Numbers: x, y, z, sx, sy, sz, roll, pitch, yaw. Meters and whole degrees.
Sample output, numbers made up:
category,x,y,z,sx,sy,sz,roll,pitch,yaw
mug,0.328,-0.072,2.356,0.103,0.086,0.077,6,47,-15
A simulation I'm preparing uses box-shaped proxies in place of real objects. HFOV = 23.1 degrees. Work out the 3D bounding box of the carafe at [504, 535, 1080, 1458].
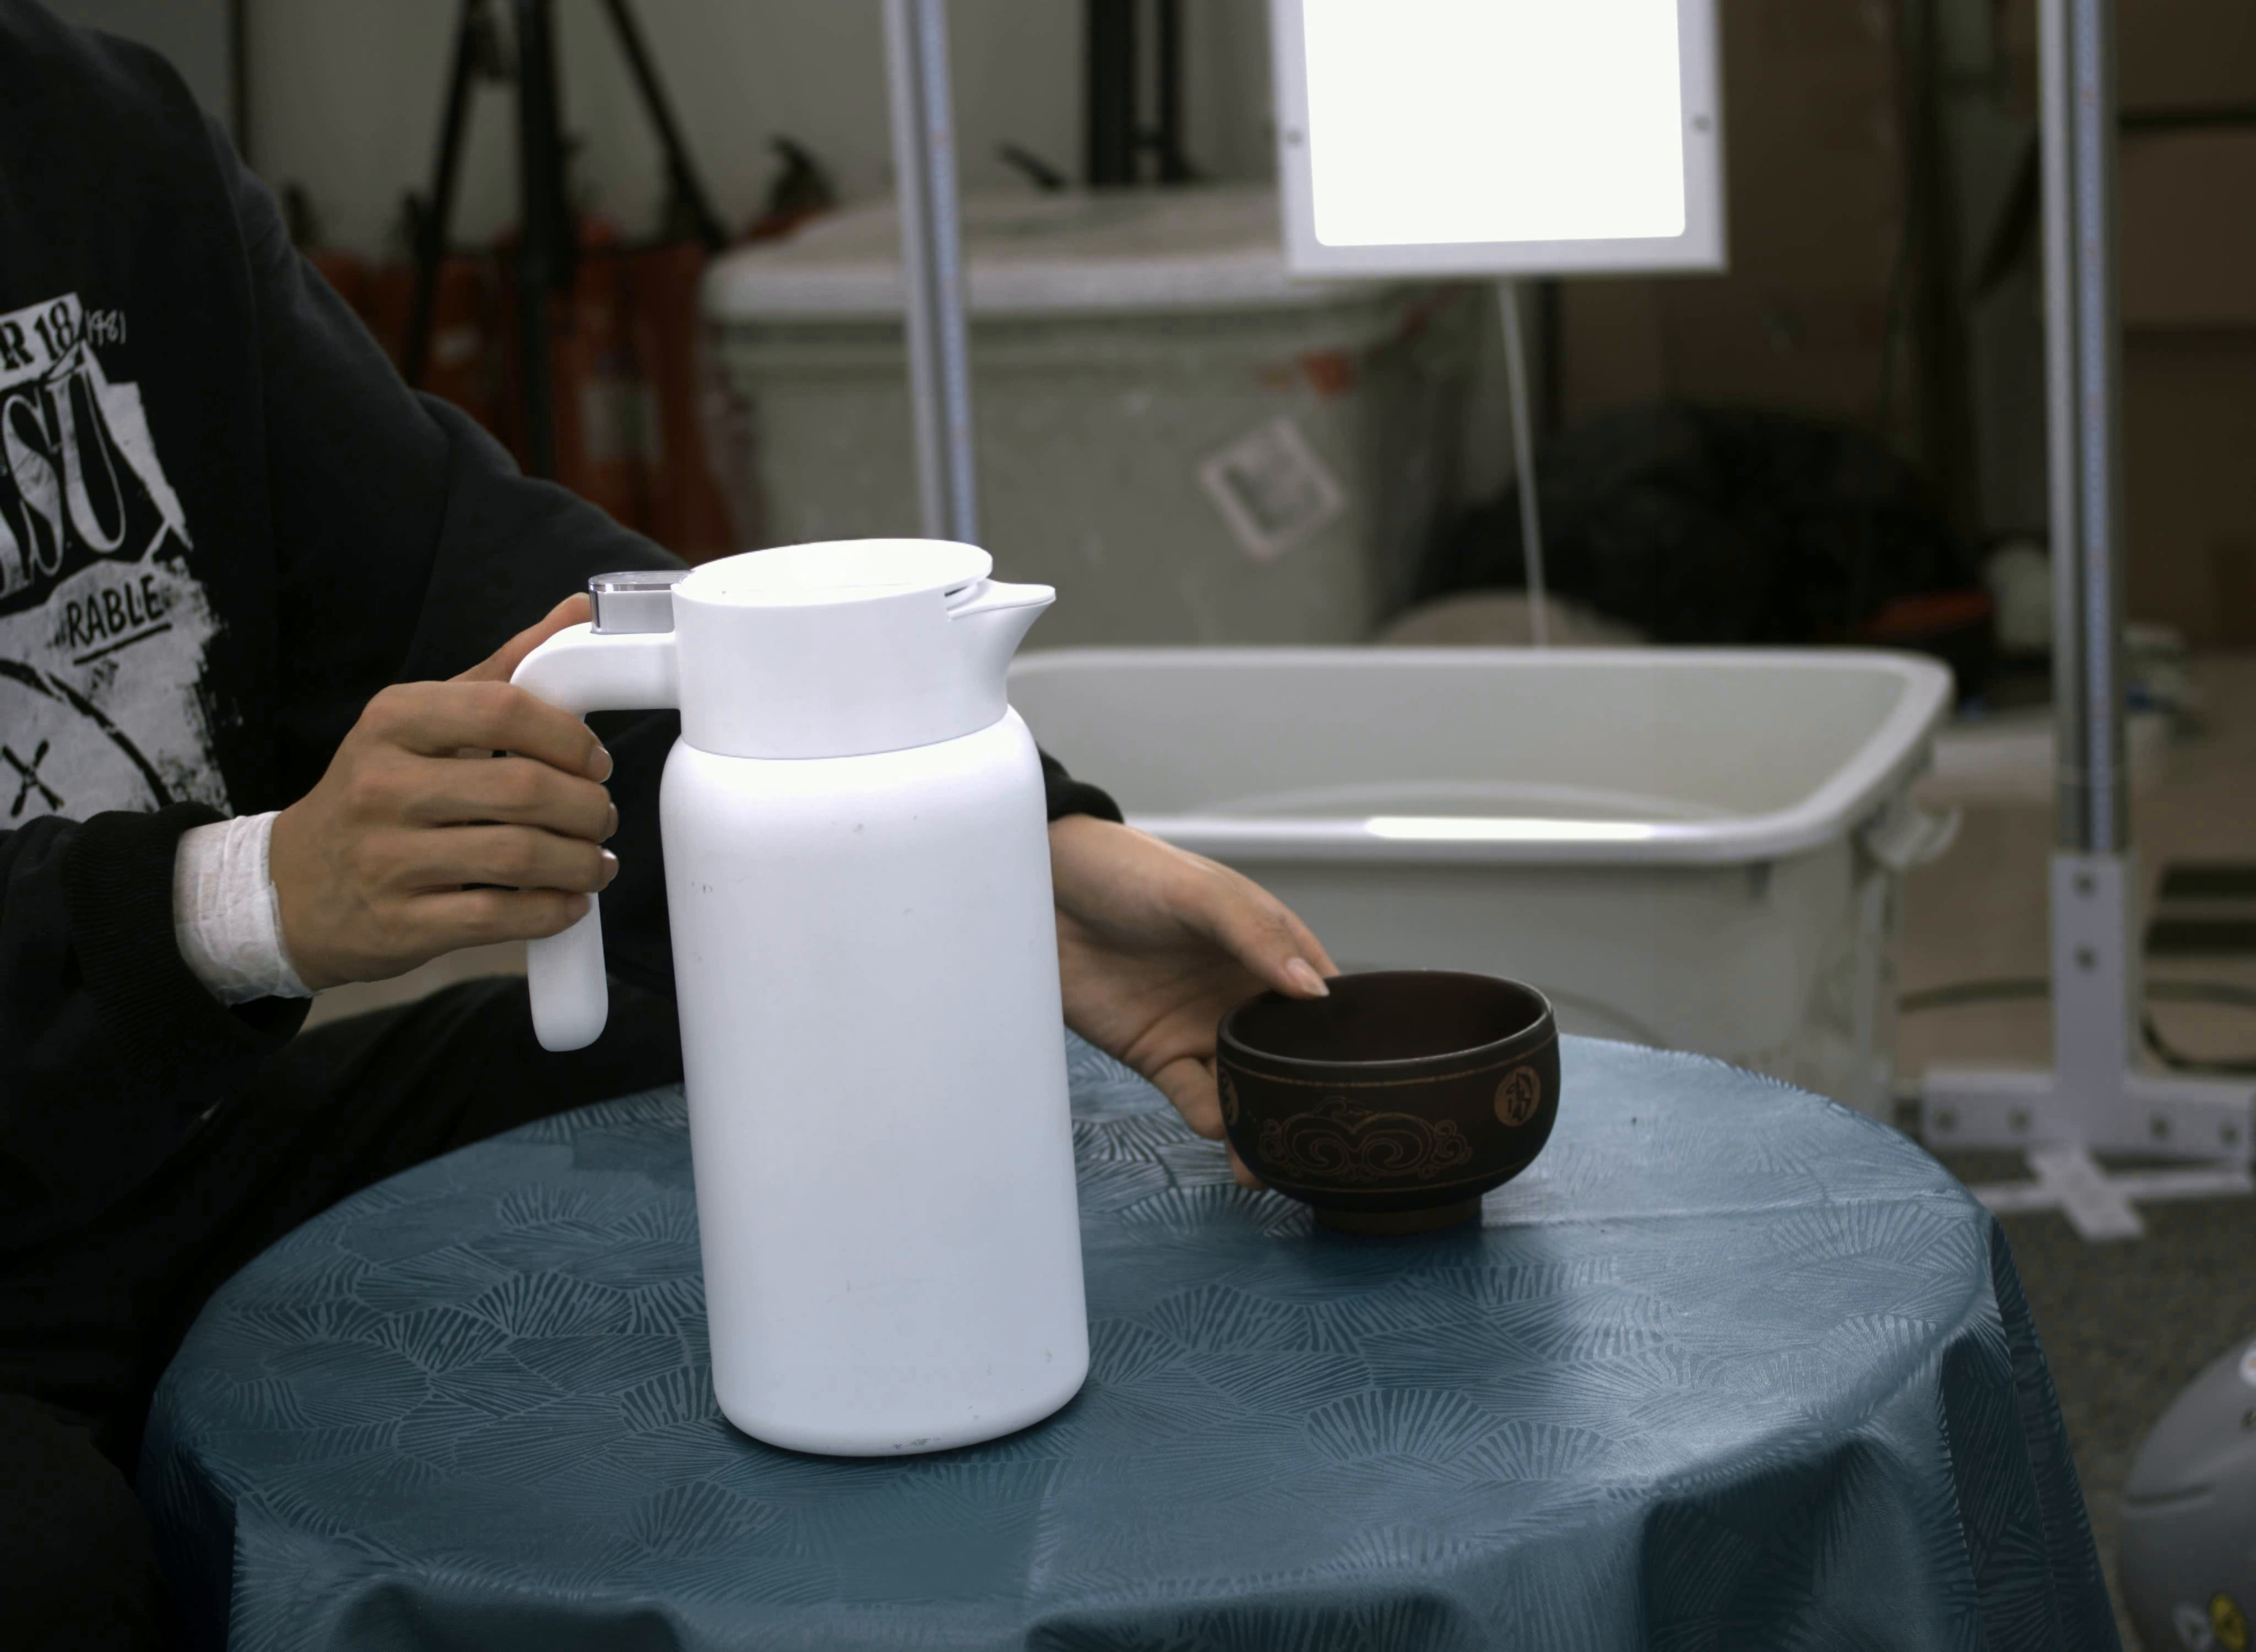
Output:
category,x,y,z,sx,sy,sz,roll,pitch,yaw
carafe,-0.098,0.051,1.682,0.174,0.270,0.122,-1,16,12

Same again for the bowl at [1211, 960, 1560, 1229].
category,x,y,z,sx,sy,sz,roll,pitch,yaw
bowl,0.088,0.094,1.845,0.118,0.070,0.118,-6,14,0
